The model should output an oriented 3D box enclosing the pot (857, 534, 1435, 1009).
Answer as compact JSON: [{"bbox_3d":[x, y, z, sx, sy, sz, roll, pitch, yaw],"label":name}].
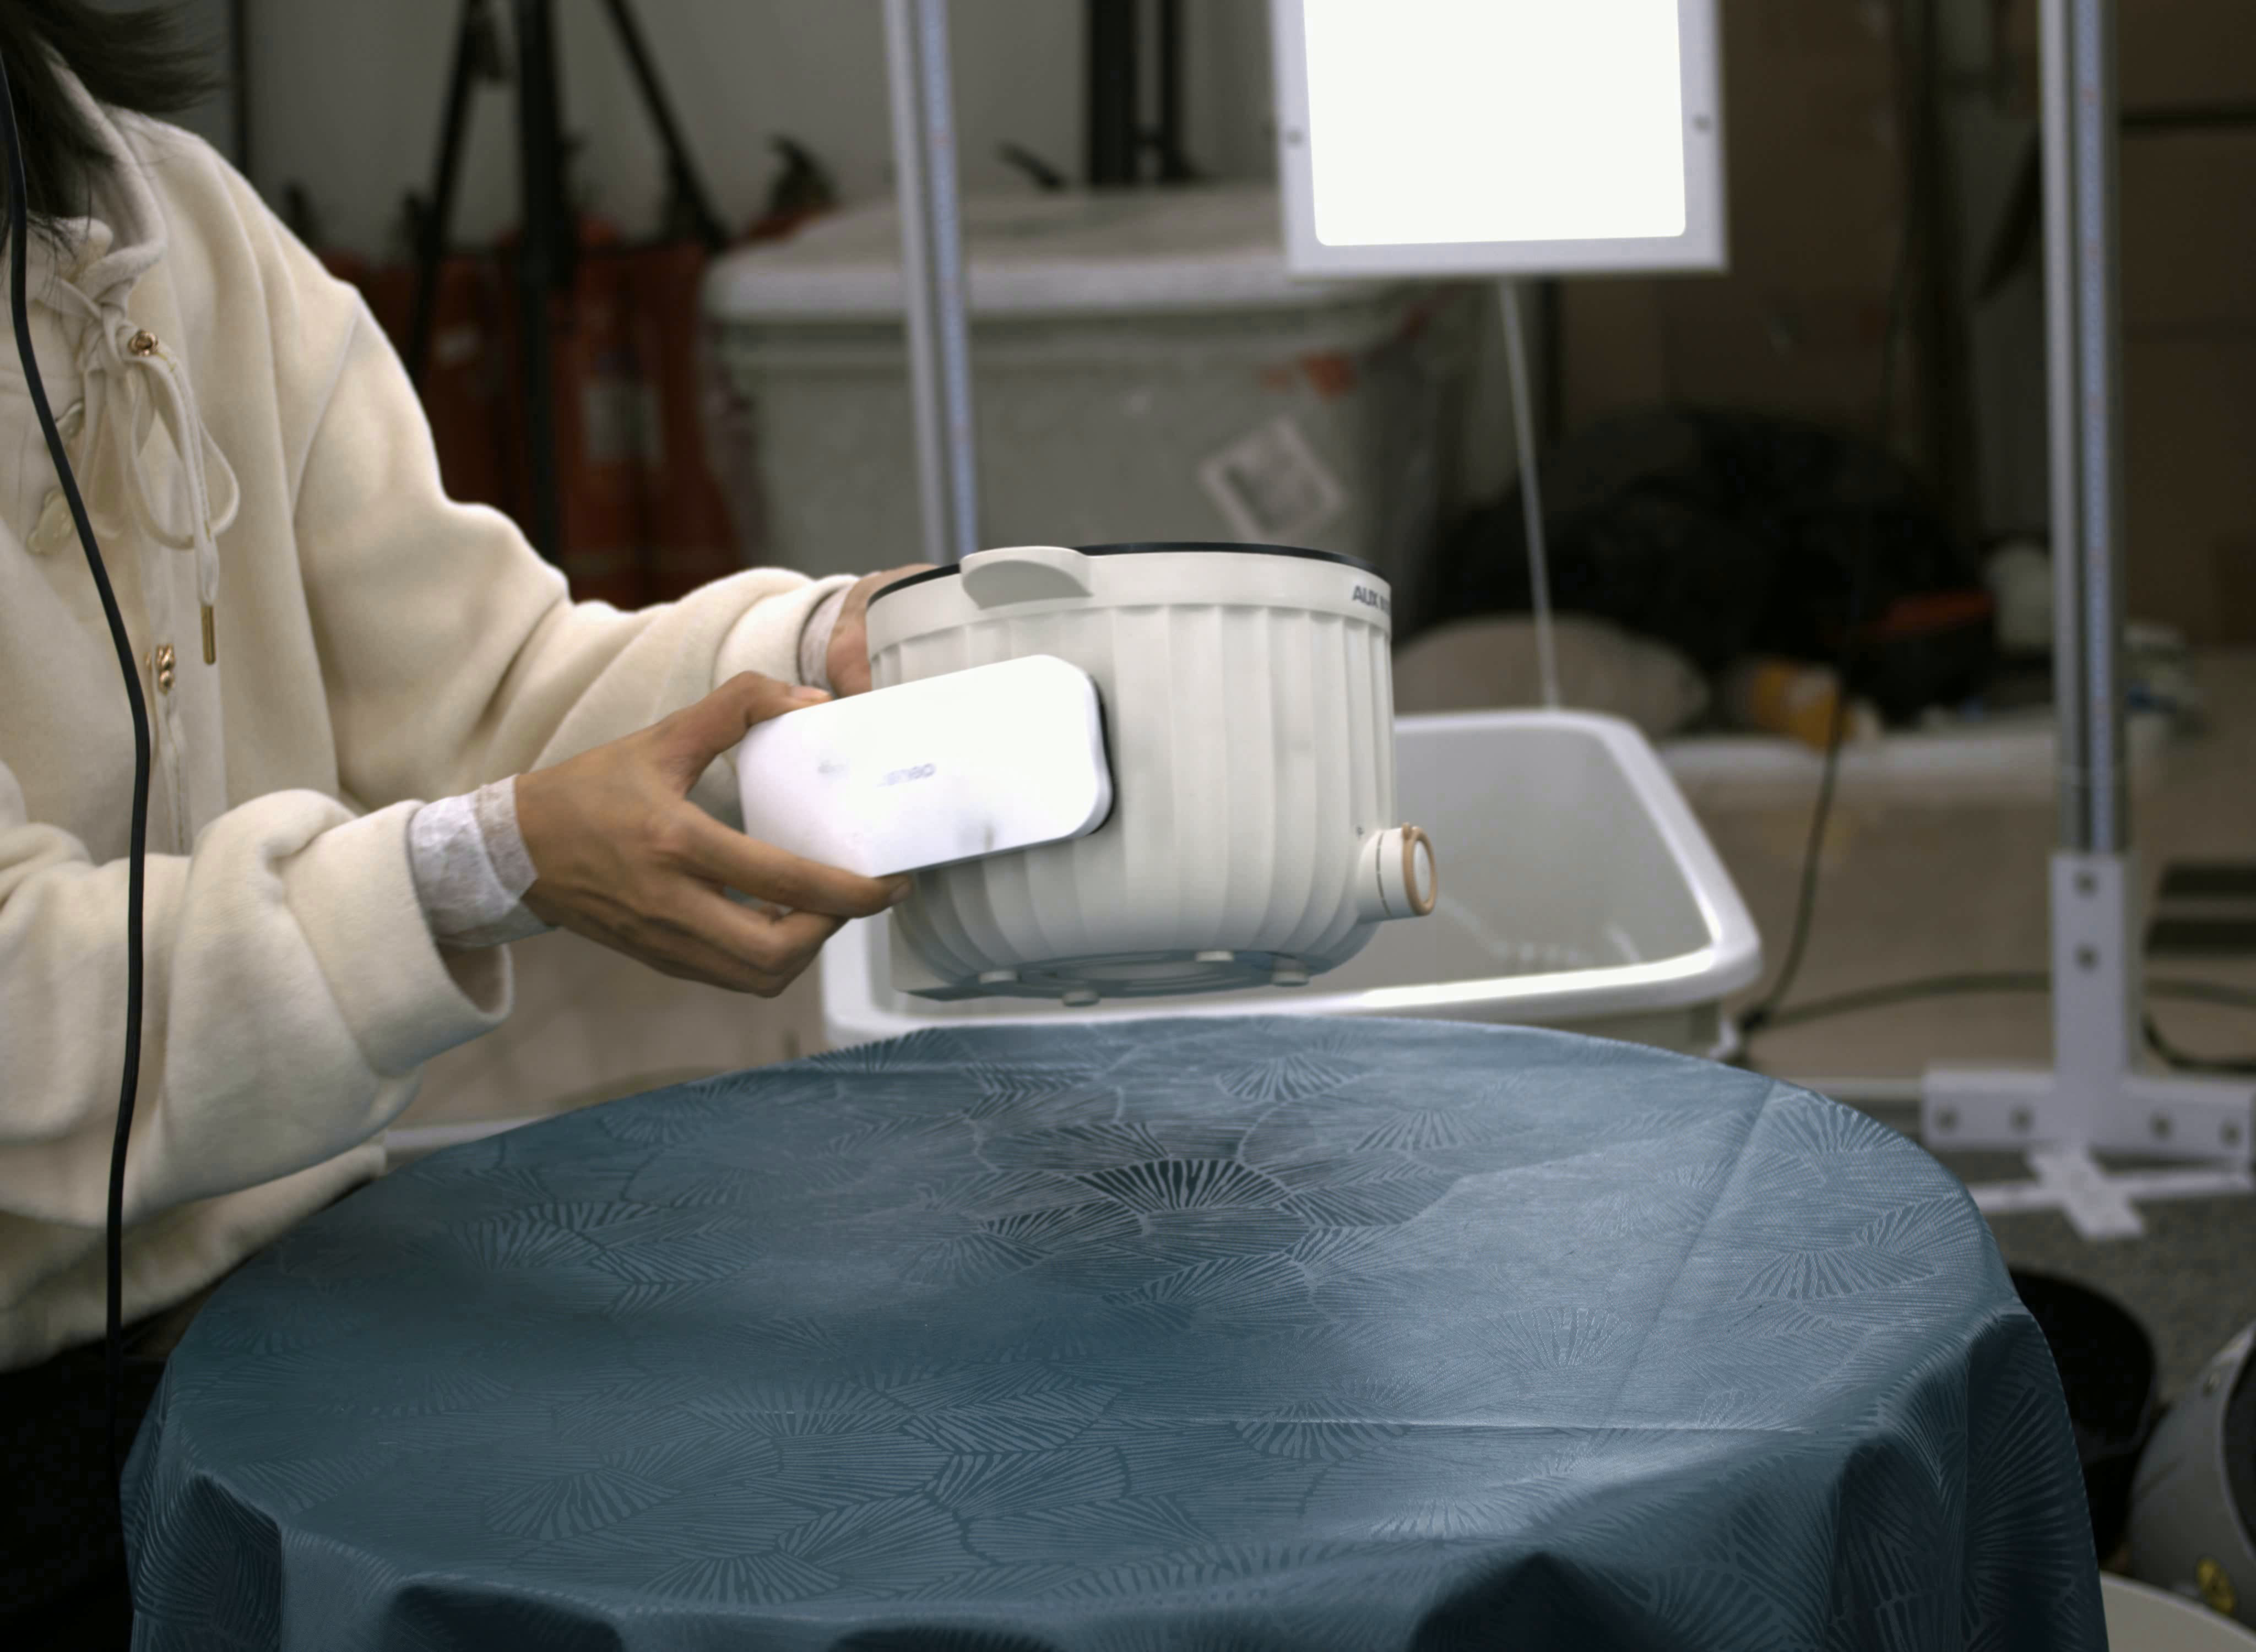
[{"bbox_3d":[0.007,-0.015,1.881,0.193,0.143,0.236,-9,-9,20],"label":"pot"}]

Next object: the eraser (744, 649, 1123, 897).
[{"bbox_3d":[-0.065,-0.017,1.802,0.133,0.063,0.034,-13,-11,27],"label":"eraser"}]
